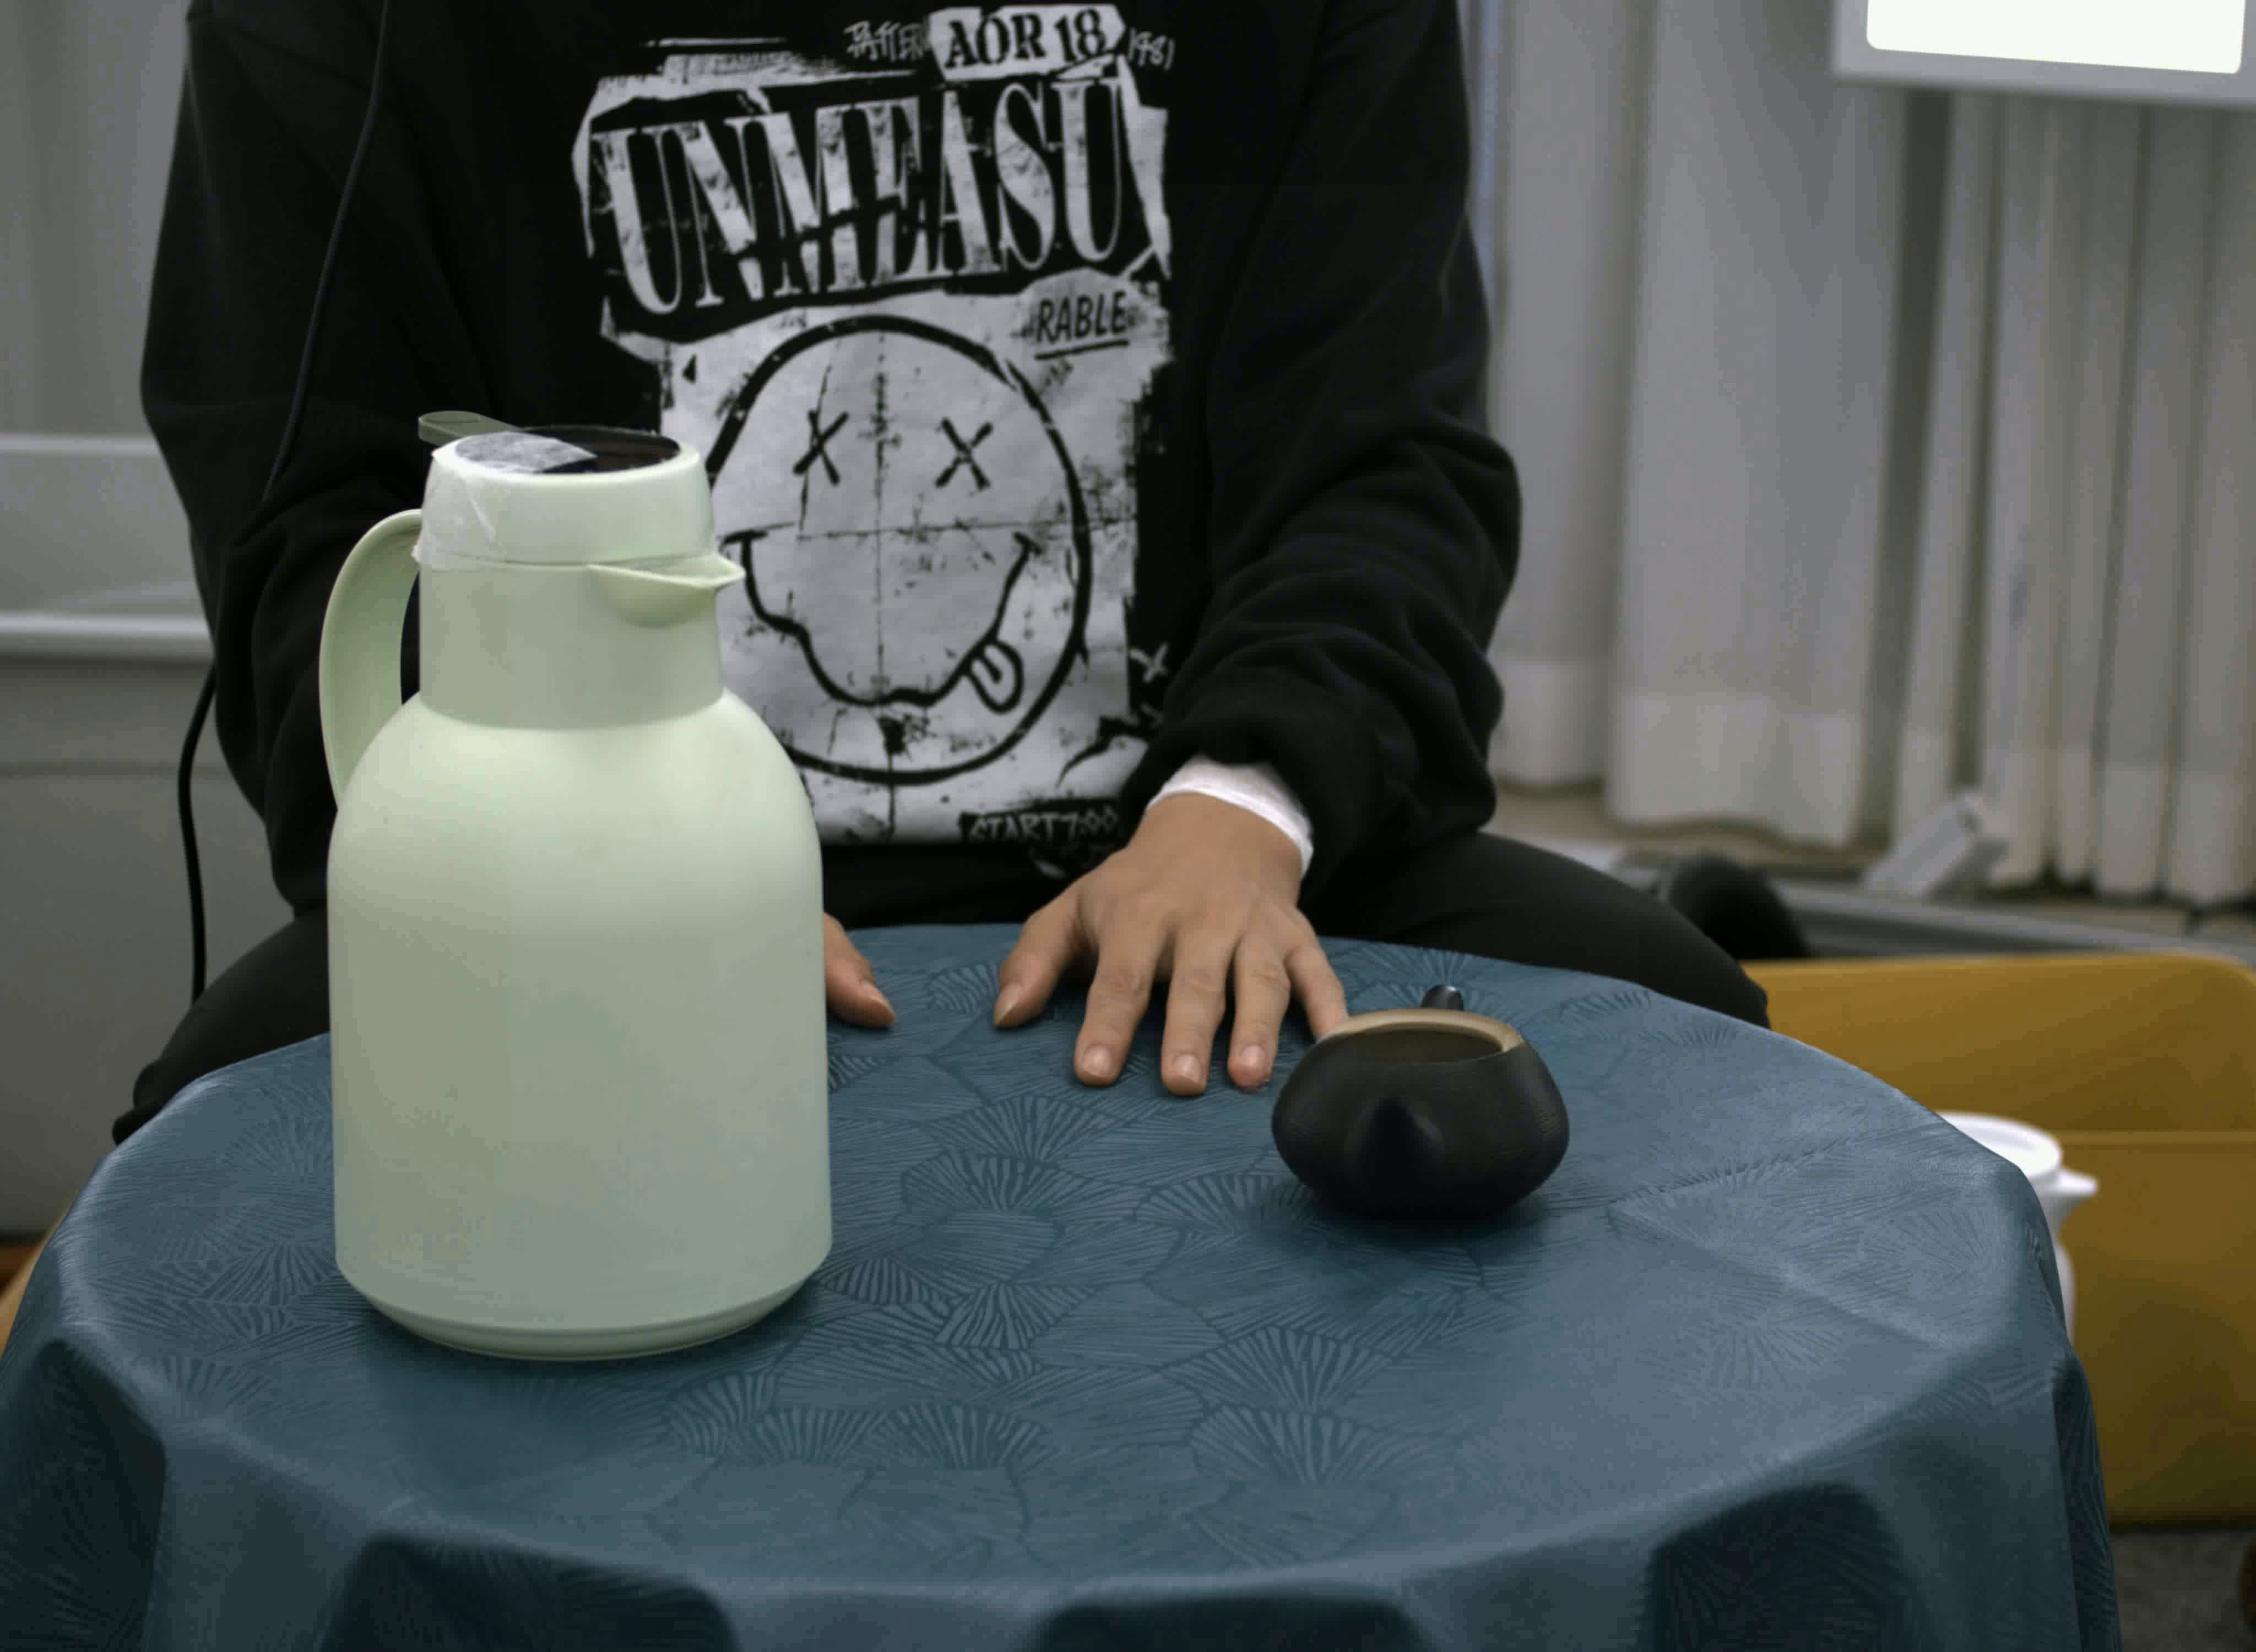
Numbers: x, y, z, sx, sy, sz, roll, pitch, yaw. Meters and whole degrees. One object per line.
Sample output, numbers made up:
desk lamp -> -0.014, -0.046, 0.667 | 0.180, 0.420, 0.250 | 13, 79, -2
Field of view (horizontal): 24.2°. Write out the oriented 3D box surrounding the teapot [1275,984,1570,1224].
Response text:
teapot -> 0.090, 0.088, 1.612 | 0.090, 0.053, 0.133 | 5, 17, 10

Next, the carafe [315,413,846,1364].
carafe -> -0.167, 0.012, 1.511 | 0.145, 0.259, 0.184 | -16, 19, -40
